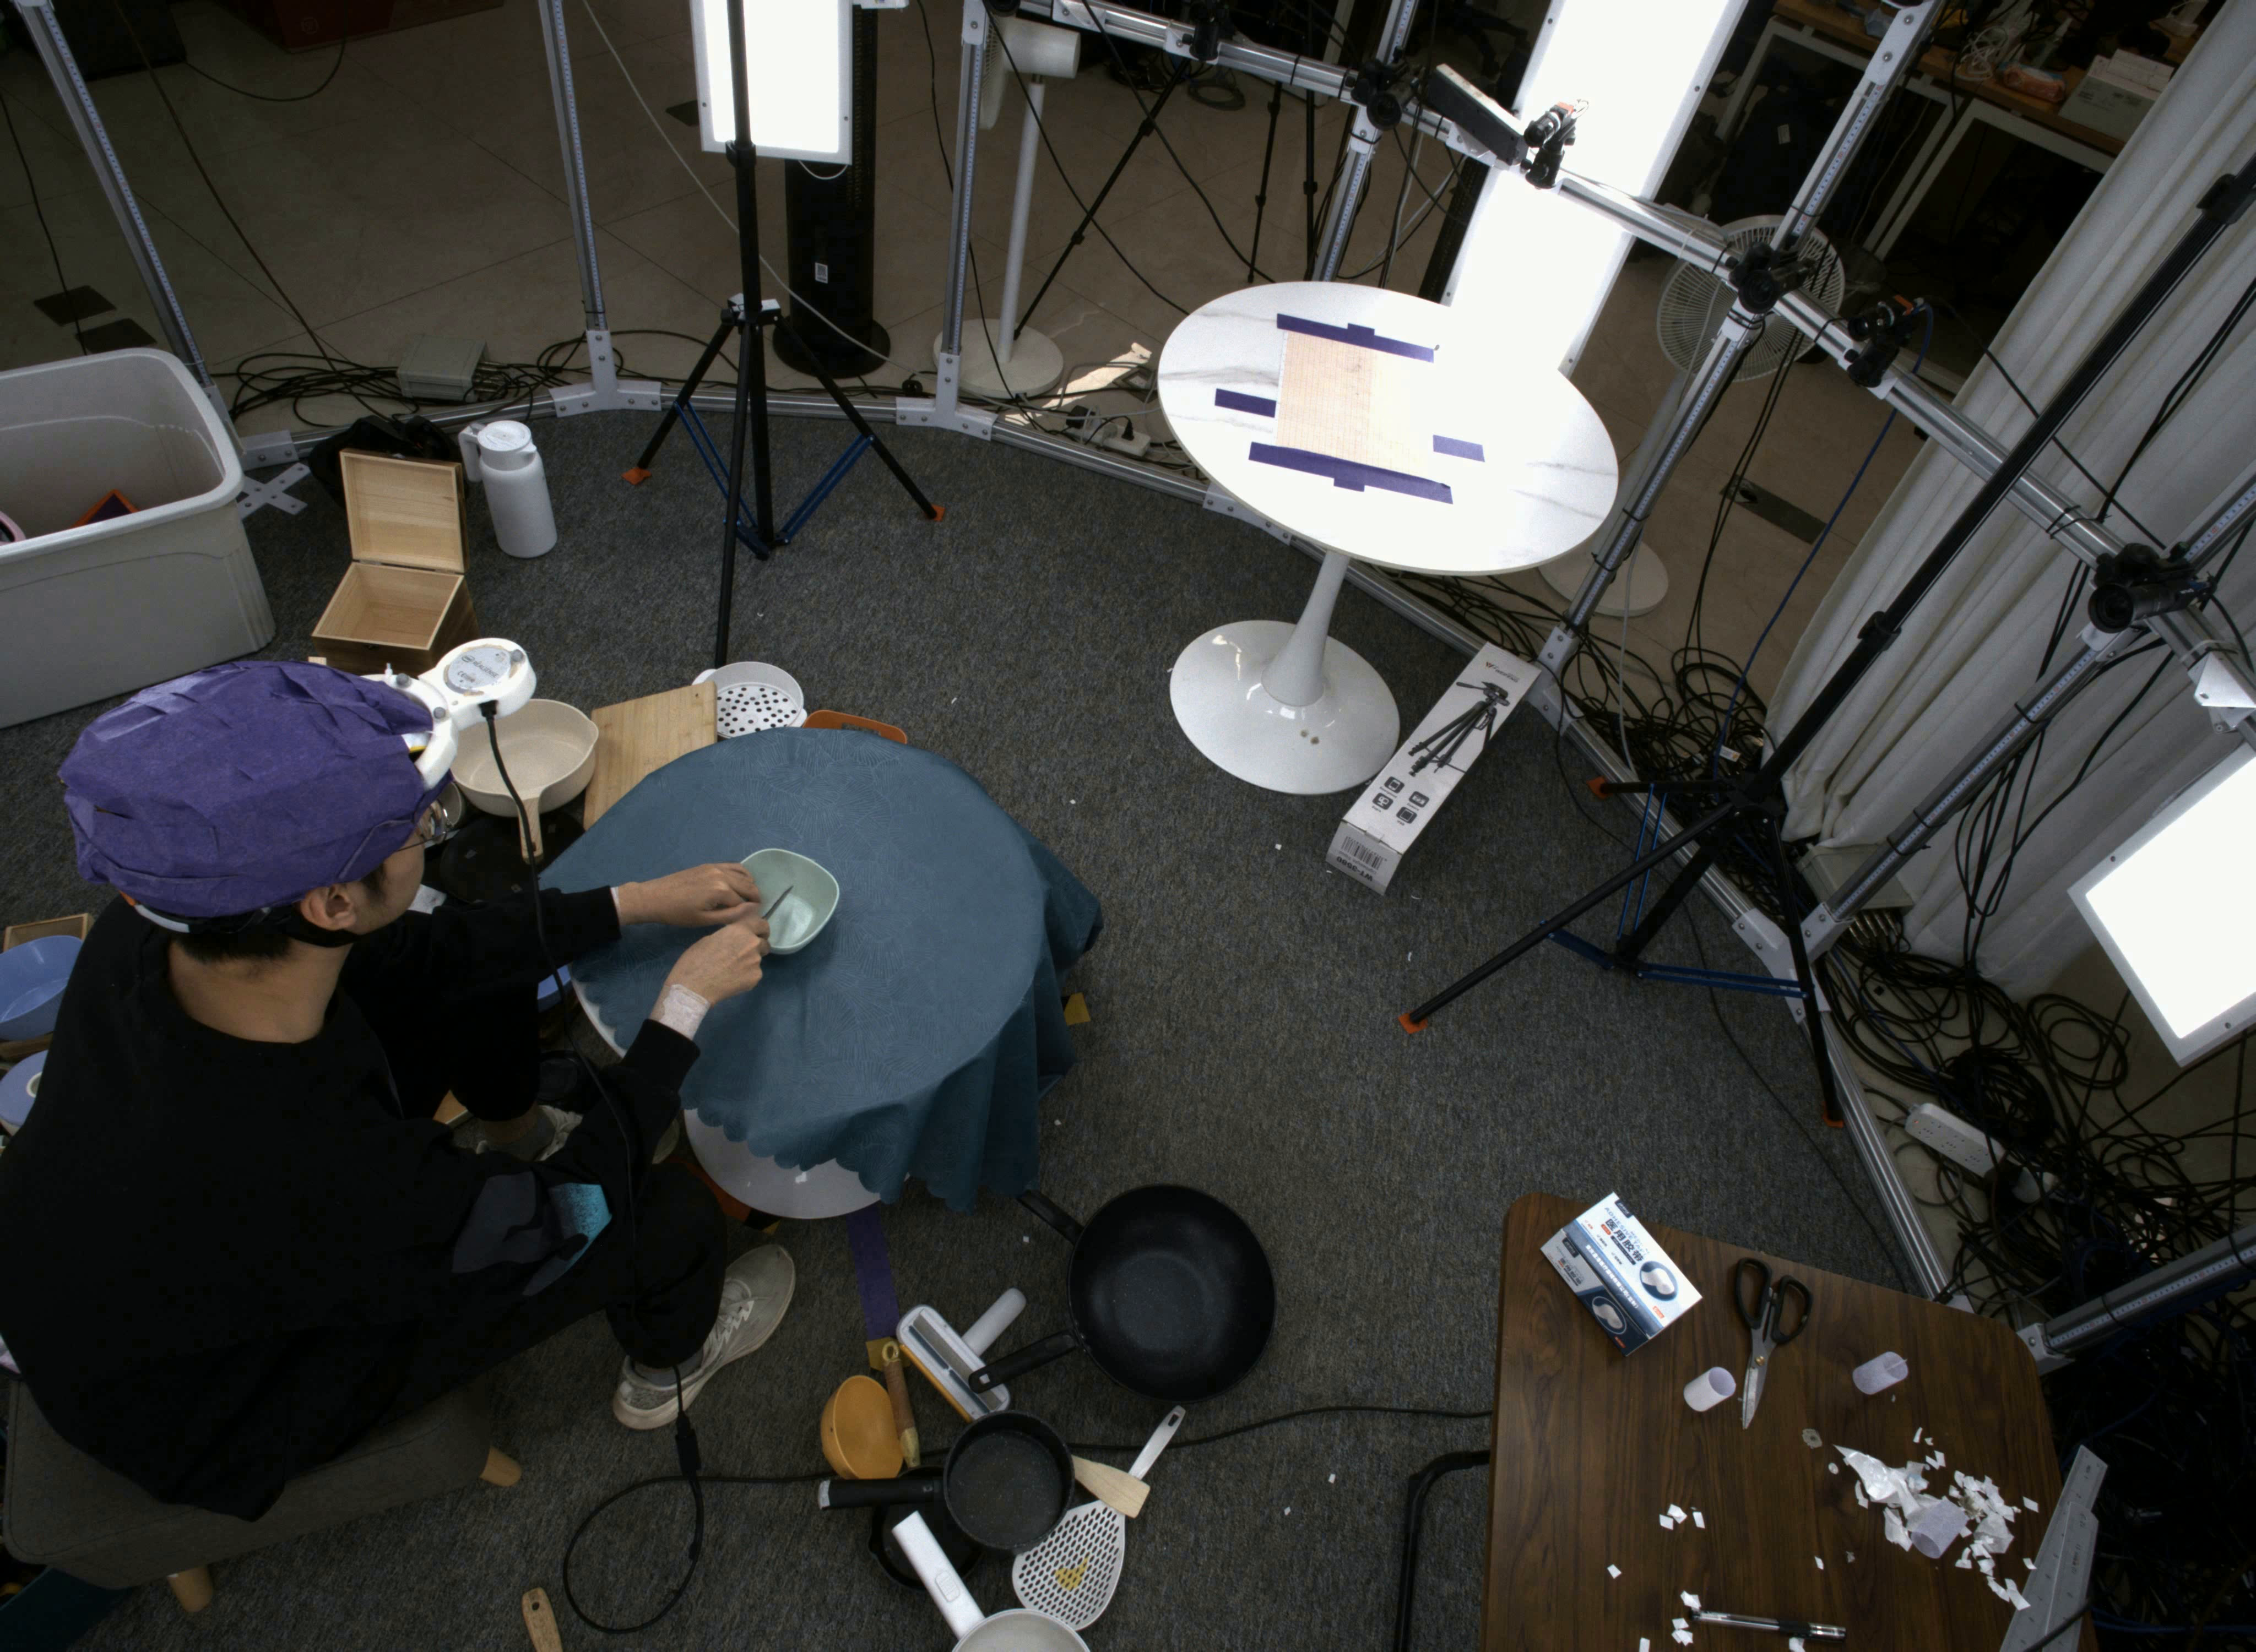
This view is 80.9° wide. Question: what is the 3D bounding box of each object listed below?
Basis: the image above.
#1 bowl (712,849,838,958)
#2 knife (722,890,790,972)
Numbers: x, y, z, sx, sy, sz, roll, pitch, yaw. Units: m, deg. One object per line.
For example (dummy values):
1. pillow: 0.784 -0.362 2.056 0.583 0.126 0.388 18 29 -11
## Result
1. bowl: -0.434 0.104 1.597 0.151 0.060 0.149 9 52 -10
2. knife: -0.431 0.113 1.516 0.017 0.026 0.222 20 21 -3
